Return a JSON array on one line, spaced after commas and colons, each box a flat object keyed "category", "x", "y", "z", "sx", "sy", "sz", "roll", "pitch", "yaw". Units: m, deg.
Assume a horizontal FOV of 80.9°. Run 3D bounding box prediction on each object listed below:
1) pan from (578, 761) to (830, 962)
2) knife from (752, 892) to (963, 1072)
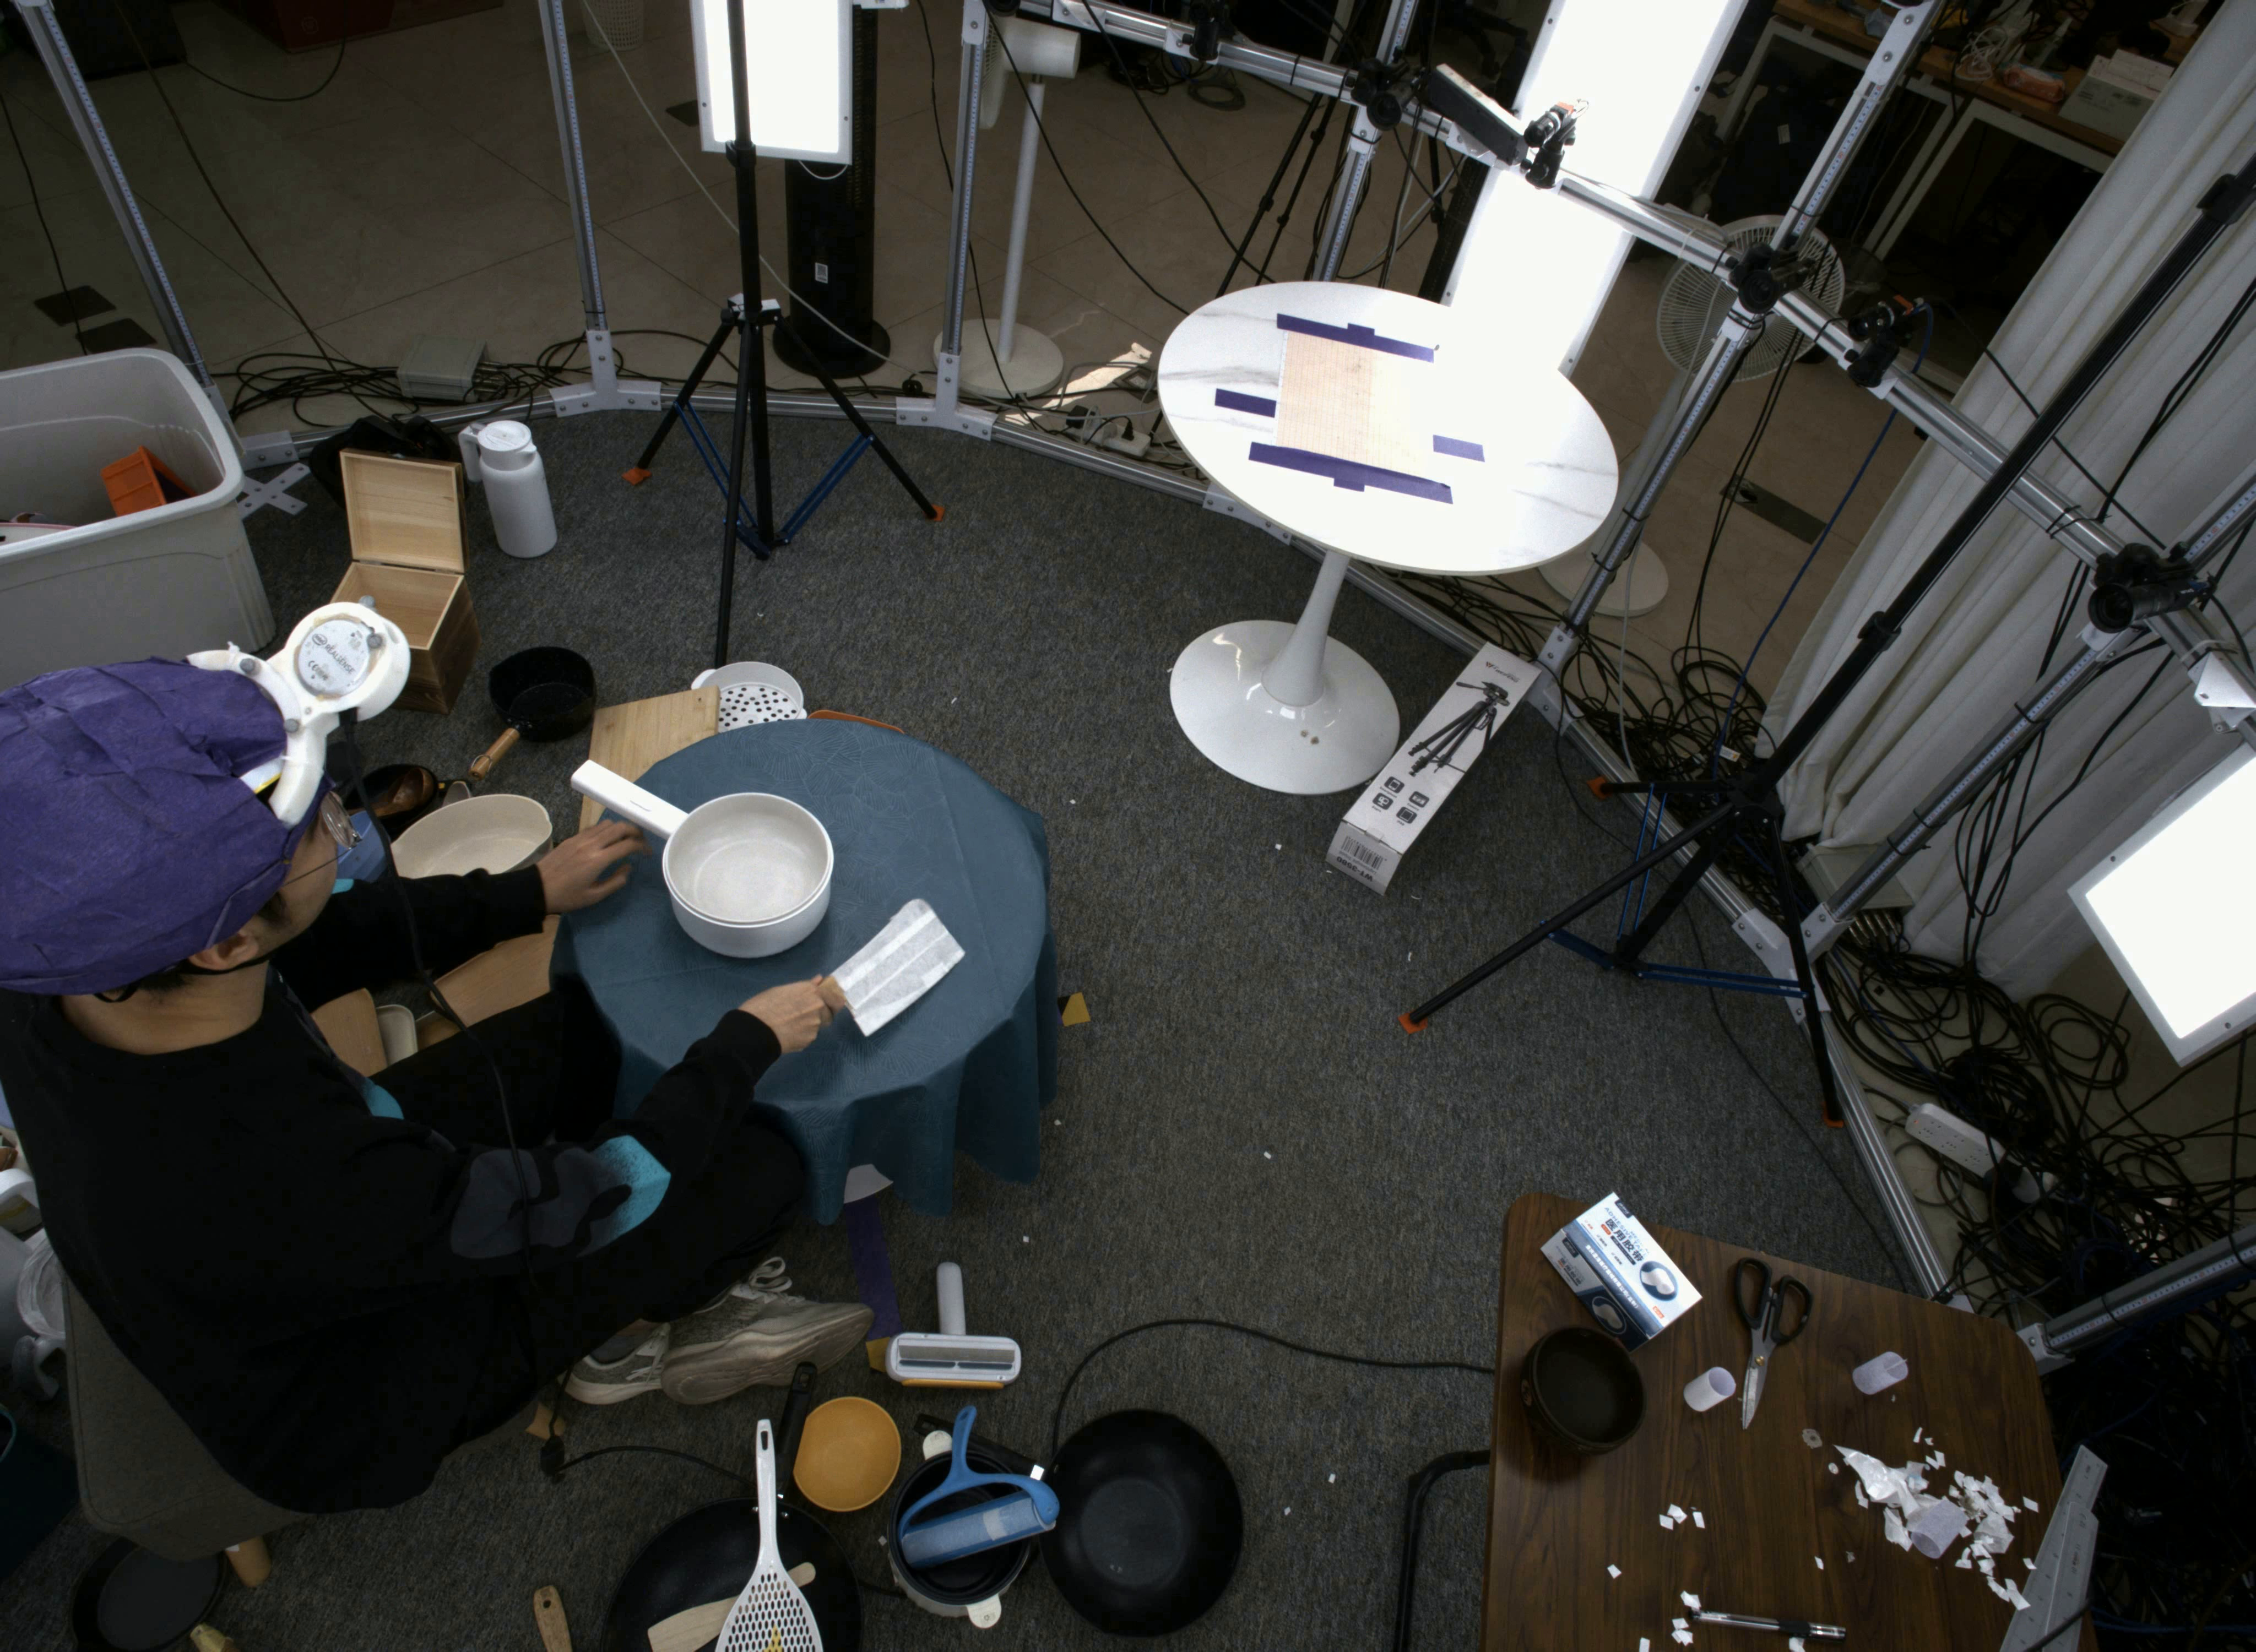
[{"category": "pan", "x": -0.534, "y": 0.032, "z": 1.598, "sx": 0.349, "sy": 0.104, "sz": 0.200, "roll": 26, "pitch": 53, "yaw": 6}, {"category": "knife", "x": -0.316, "y": 0.184, "z": 1.526, "sx": 0.316, "sy": 0.021, "sz": 0.116, "roll": -37, "pitch": 105, "yaw": -45}]
